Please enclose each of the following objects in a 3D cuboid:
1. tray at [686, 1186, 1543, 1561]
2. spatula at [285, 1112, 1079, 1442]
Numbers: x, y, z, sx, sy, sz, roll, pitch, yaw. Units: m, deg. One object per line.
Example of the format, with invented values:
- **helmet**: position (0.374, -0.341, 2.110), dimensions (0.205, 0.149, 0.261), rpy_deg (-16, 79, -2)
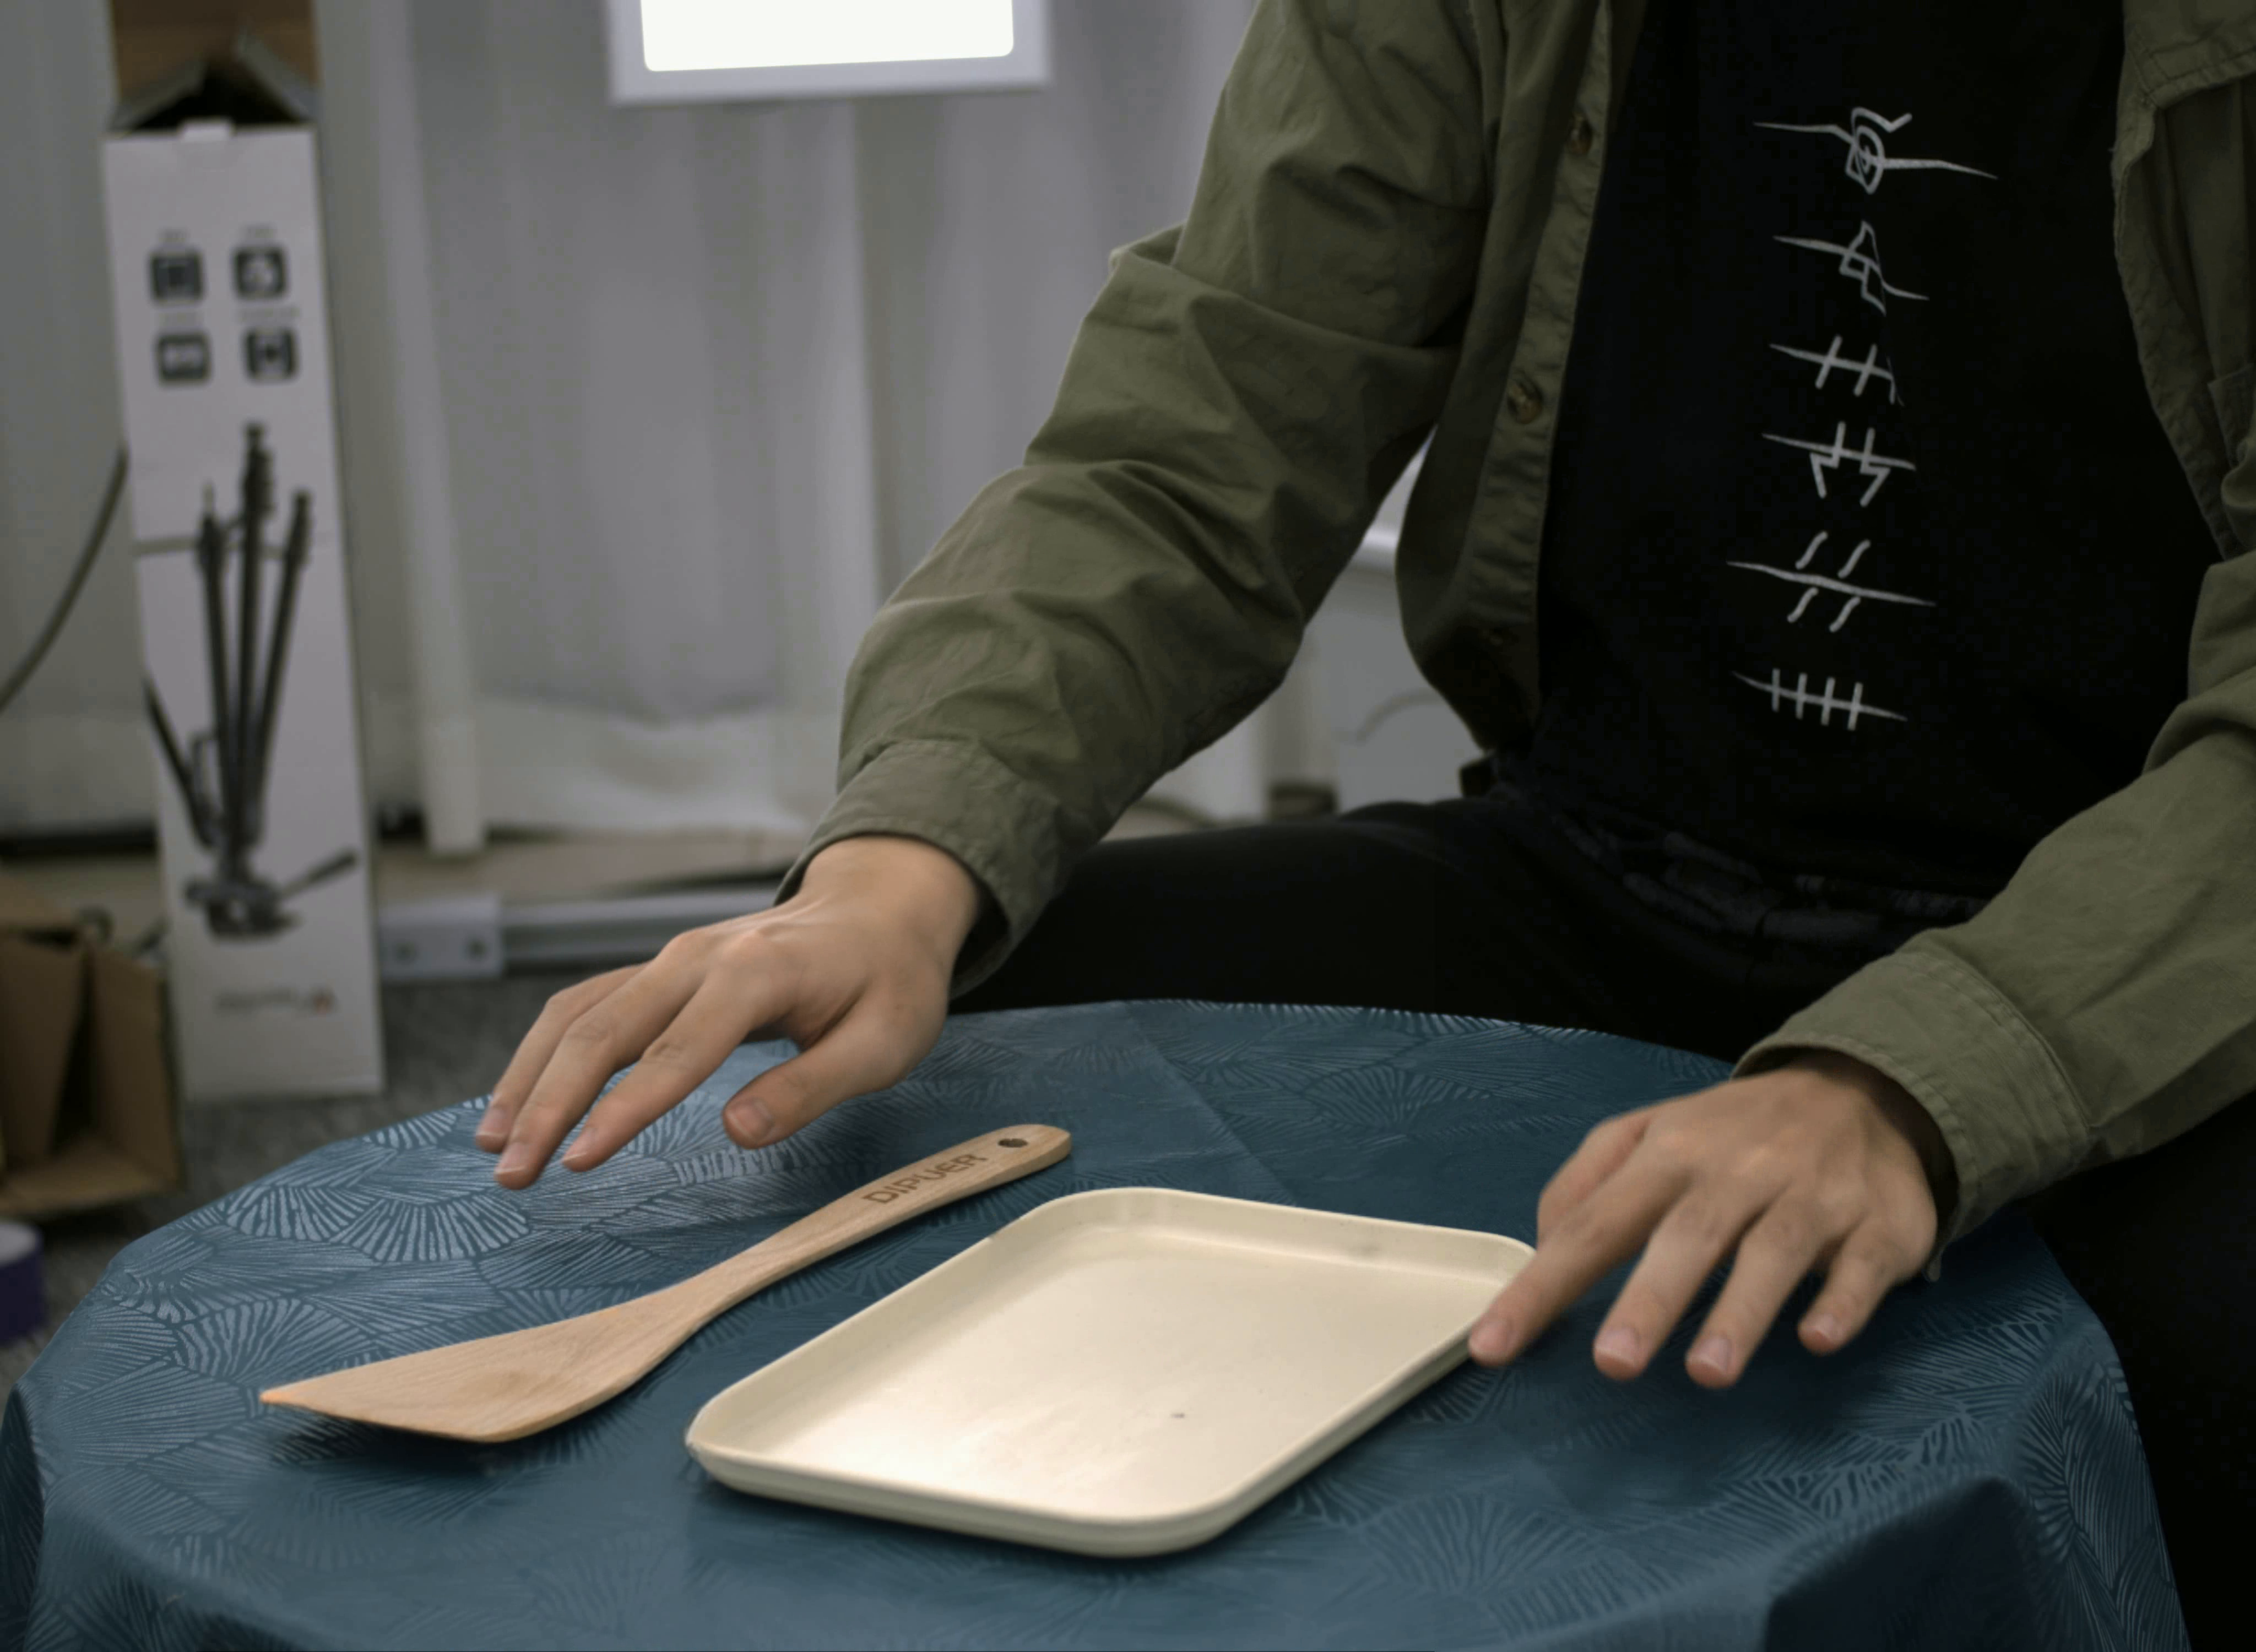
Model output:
- **tray**: position (0.000, 0.153, 1.541), dimensions (0.172, 0.017, 0.240), rpy_deg (6, 17, 30)
- **spatula**: position (-0.114, 0.132, 1.643), dimensions (0.080, 0.016, 0.327), rpy_deg (8, 19, 35)
